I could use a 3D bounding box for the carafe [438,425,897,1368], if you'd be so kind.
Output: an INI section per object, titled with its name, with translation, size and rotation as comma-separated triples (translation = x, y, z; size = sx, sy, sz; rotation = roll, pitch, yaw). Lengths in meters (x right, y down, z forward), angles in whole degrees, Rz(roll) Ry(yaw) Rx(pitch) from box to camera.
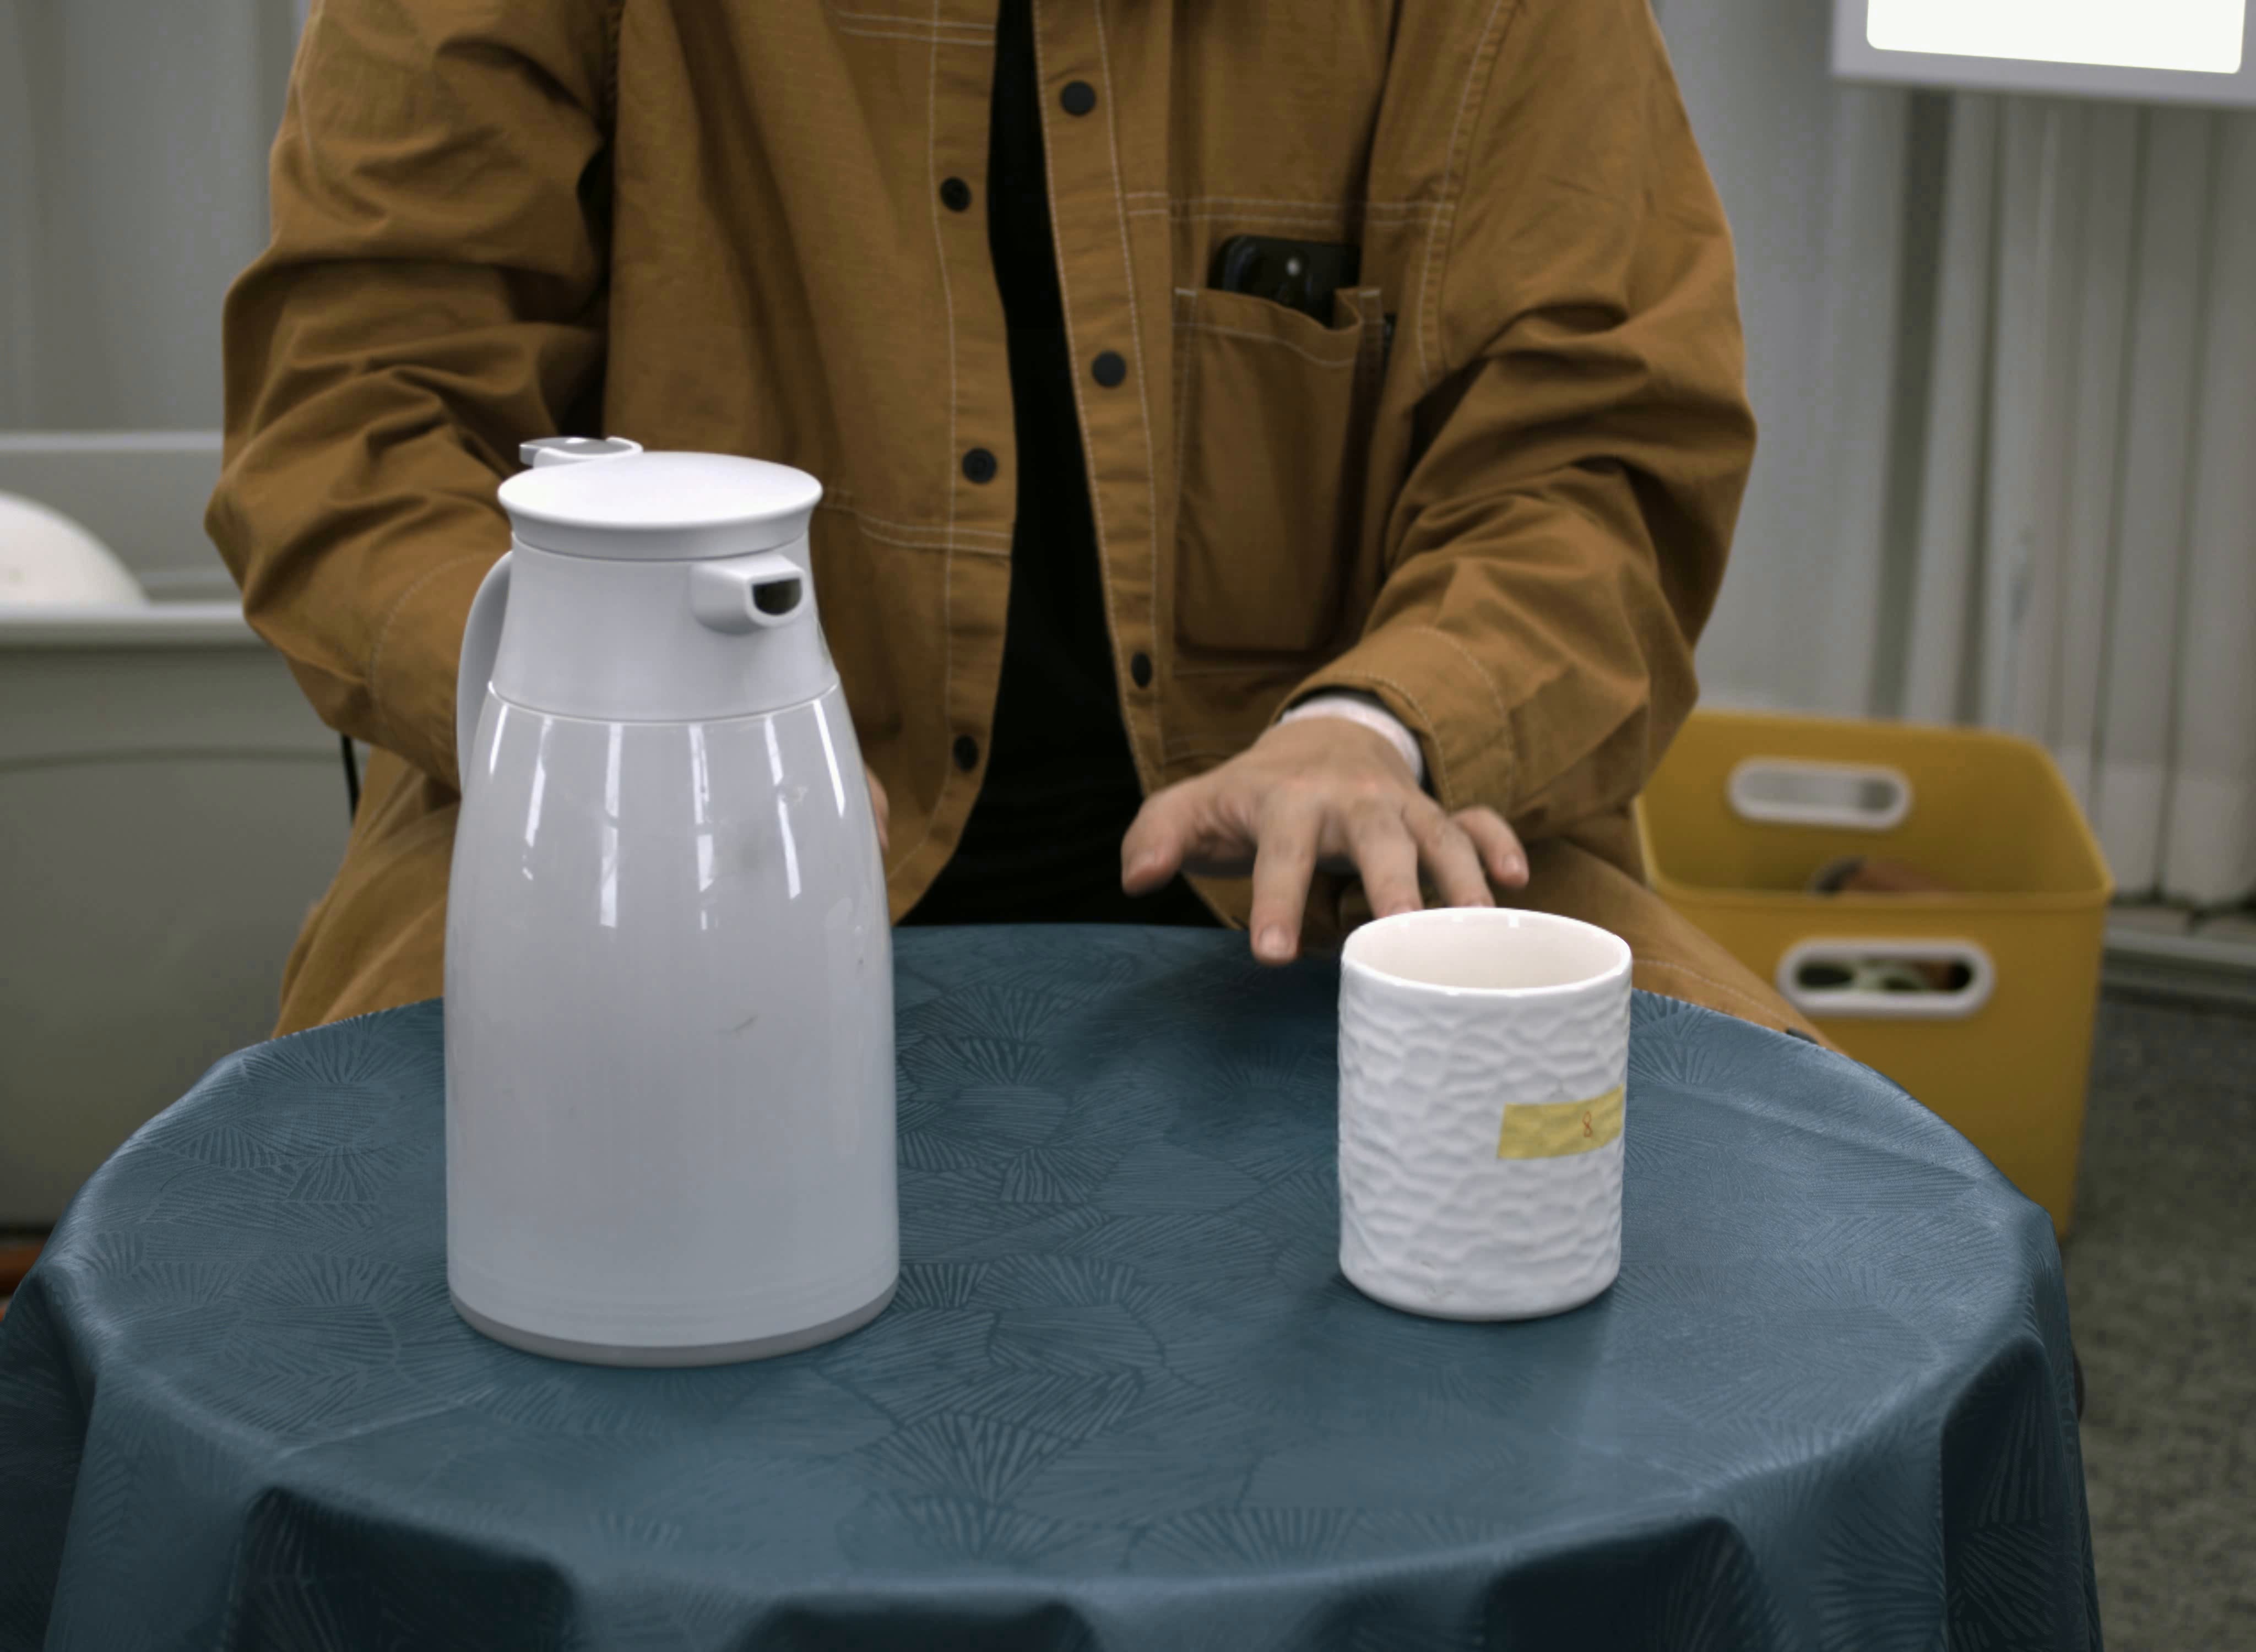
[carafe]
translation = -0.145, 0.012, 1.515
size = 0.133, 0.250, 0.165
rotation = -13, 20, -36

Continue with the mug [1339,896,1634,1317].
[mug]
translation = 0.099, 0.077, 1.551
size = 0.085, 0.103, 0.117
rotation = -5, 18, -16
